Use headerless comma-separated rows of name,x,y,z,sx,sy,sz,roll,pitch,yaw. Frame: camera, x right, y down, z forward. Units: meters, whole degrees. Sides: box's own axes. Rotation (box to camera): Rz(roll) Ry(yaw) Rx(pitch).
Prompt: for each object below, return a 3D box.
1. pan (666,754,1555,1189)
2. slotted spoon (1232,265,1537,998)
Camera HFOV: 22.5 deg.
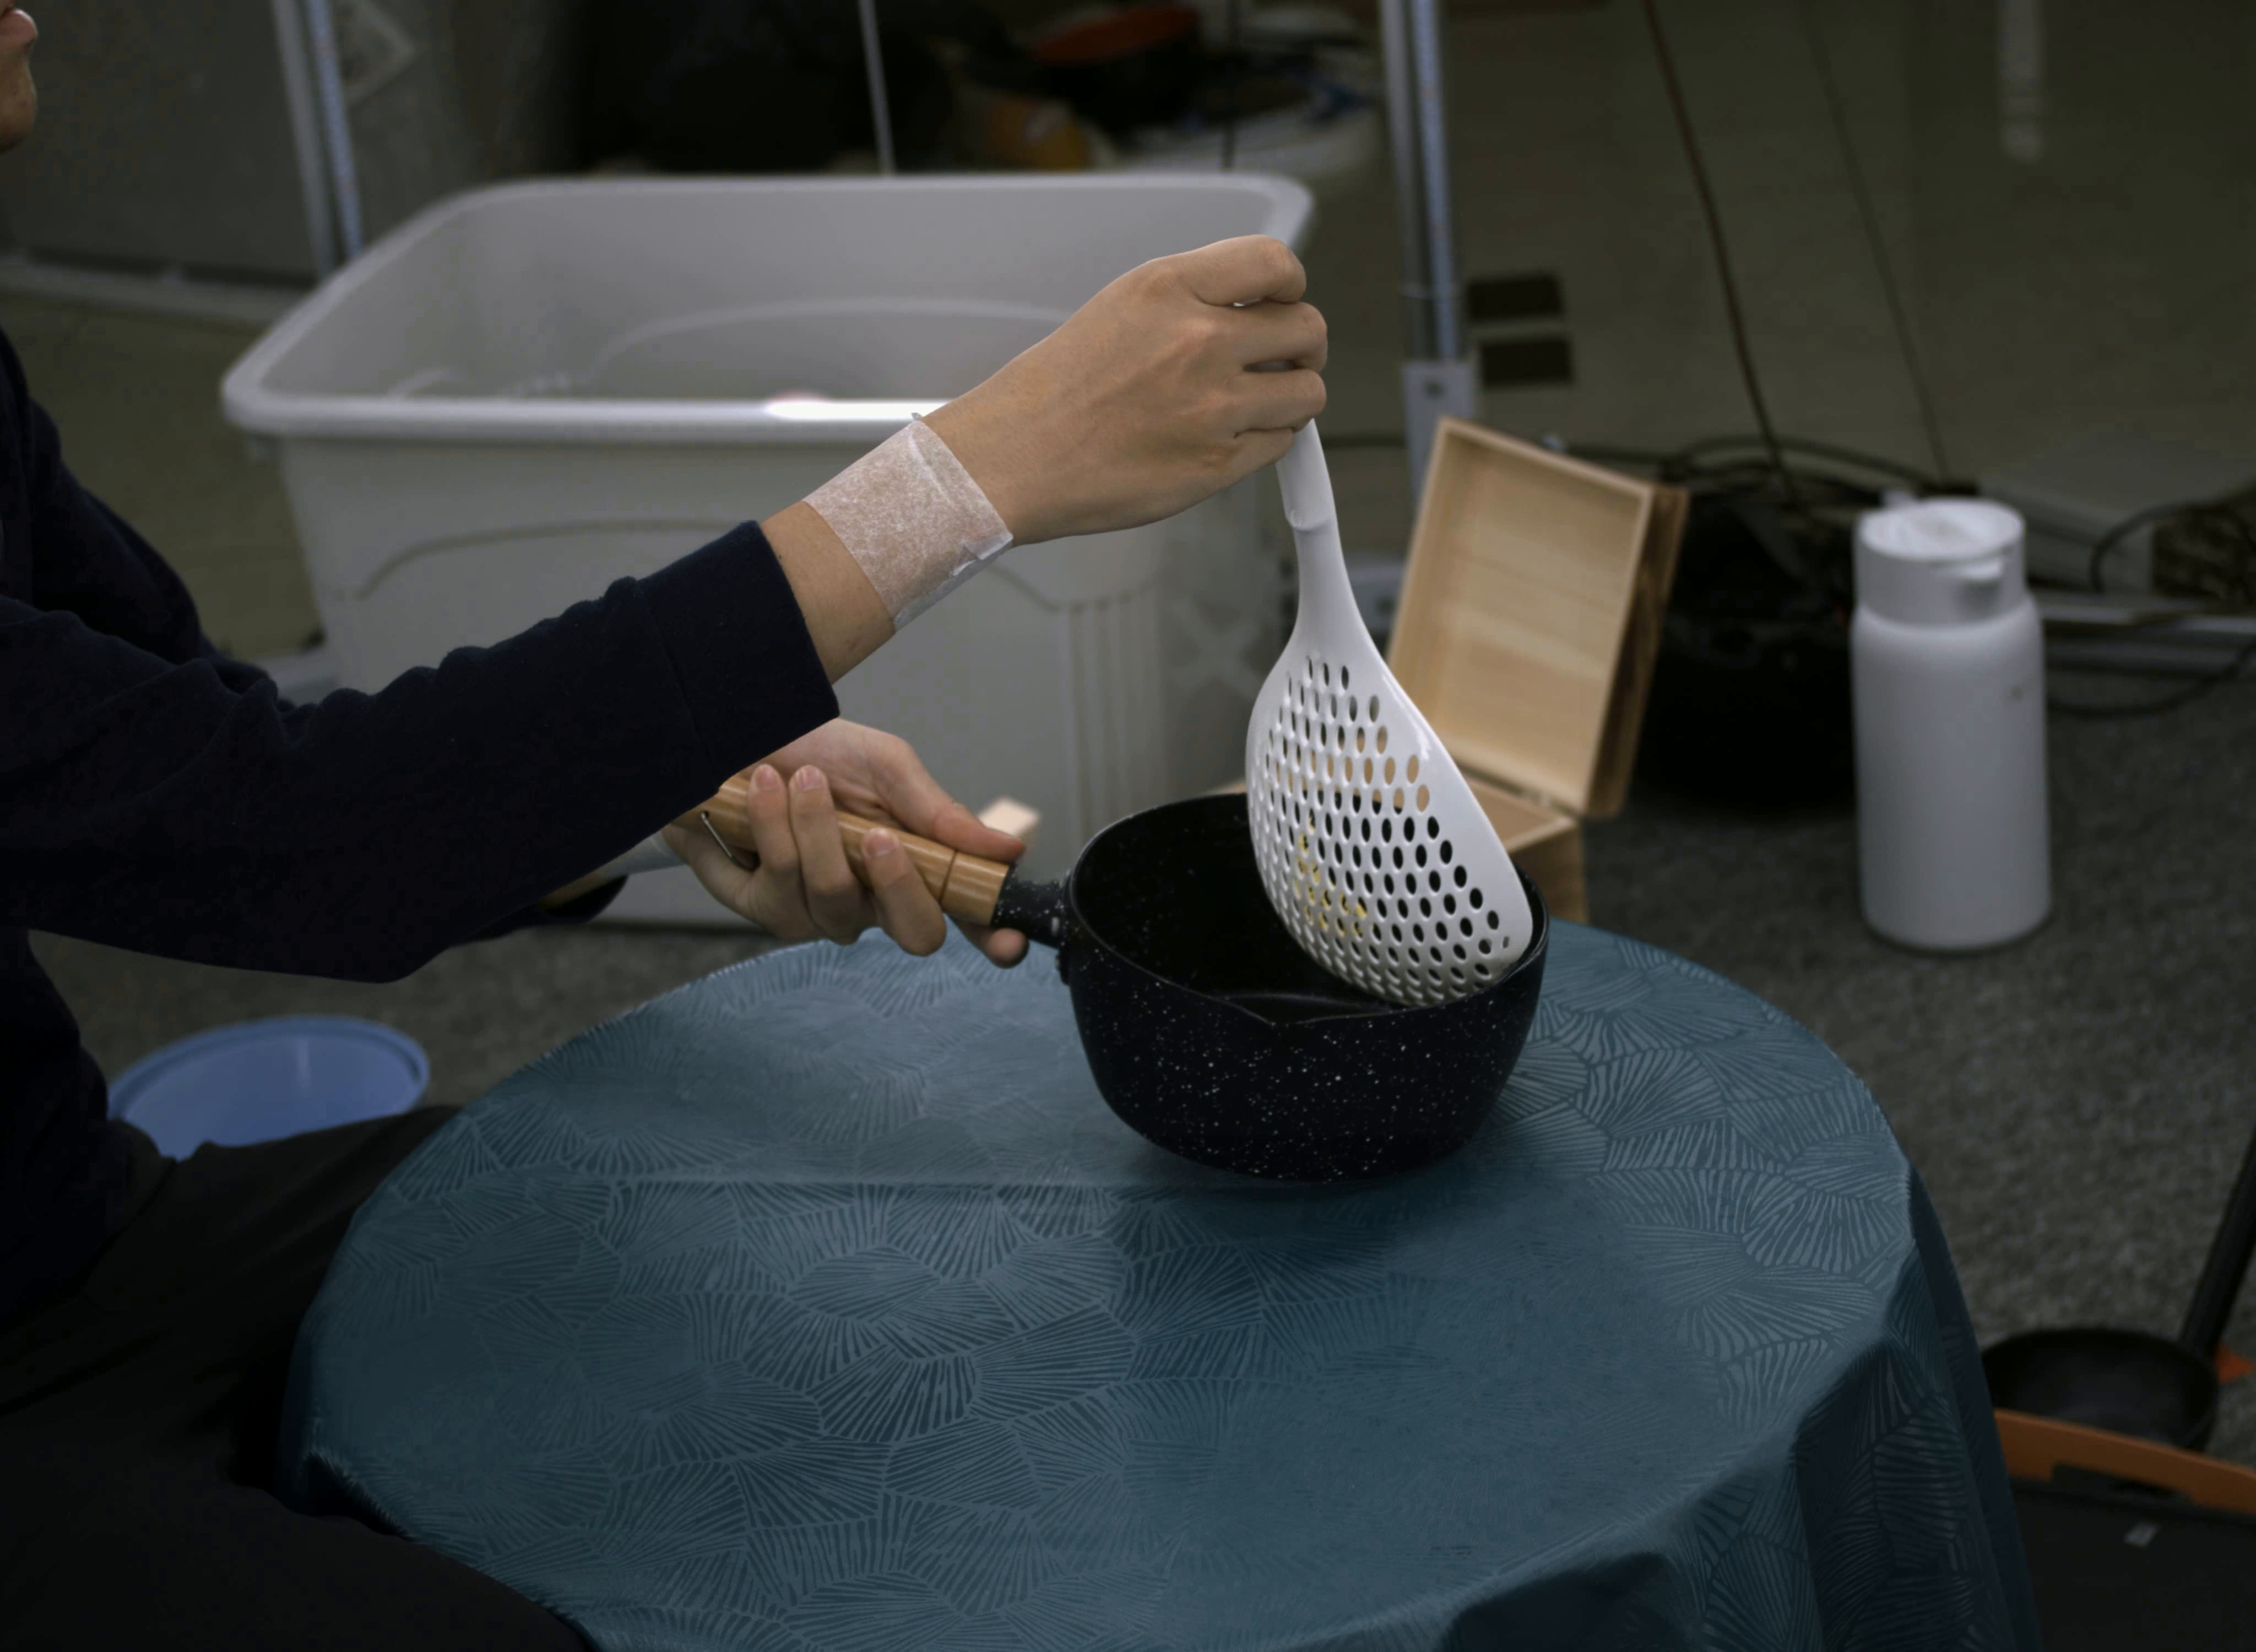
pan,-0.011,0.045,2.163,0.342,0.110,0.204,7,28,3
slotted spoon,0.072,-0.064,2.073,0.136,0.354,0.050,21,45,36
